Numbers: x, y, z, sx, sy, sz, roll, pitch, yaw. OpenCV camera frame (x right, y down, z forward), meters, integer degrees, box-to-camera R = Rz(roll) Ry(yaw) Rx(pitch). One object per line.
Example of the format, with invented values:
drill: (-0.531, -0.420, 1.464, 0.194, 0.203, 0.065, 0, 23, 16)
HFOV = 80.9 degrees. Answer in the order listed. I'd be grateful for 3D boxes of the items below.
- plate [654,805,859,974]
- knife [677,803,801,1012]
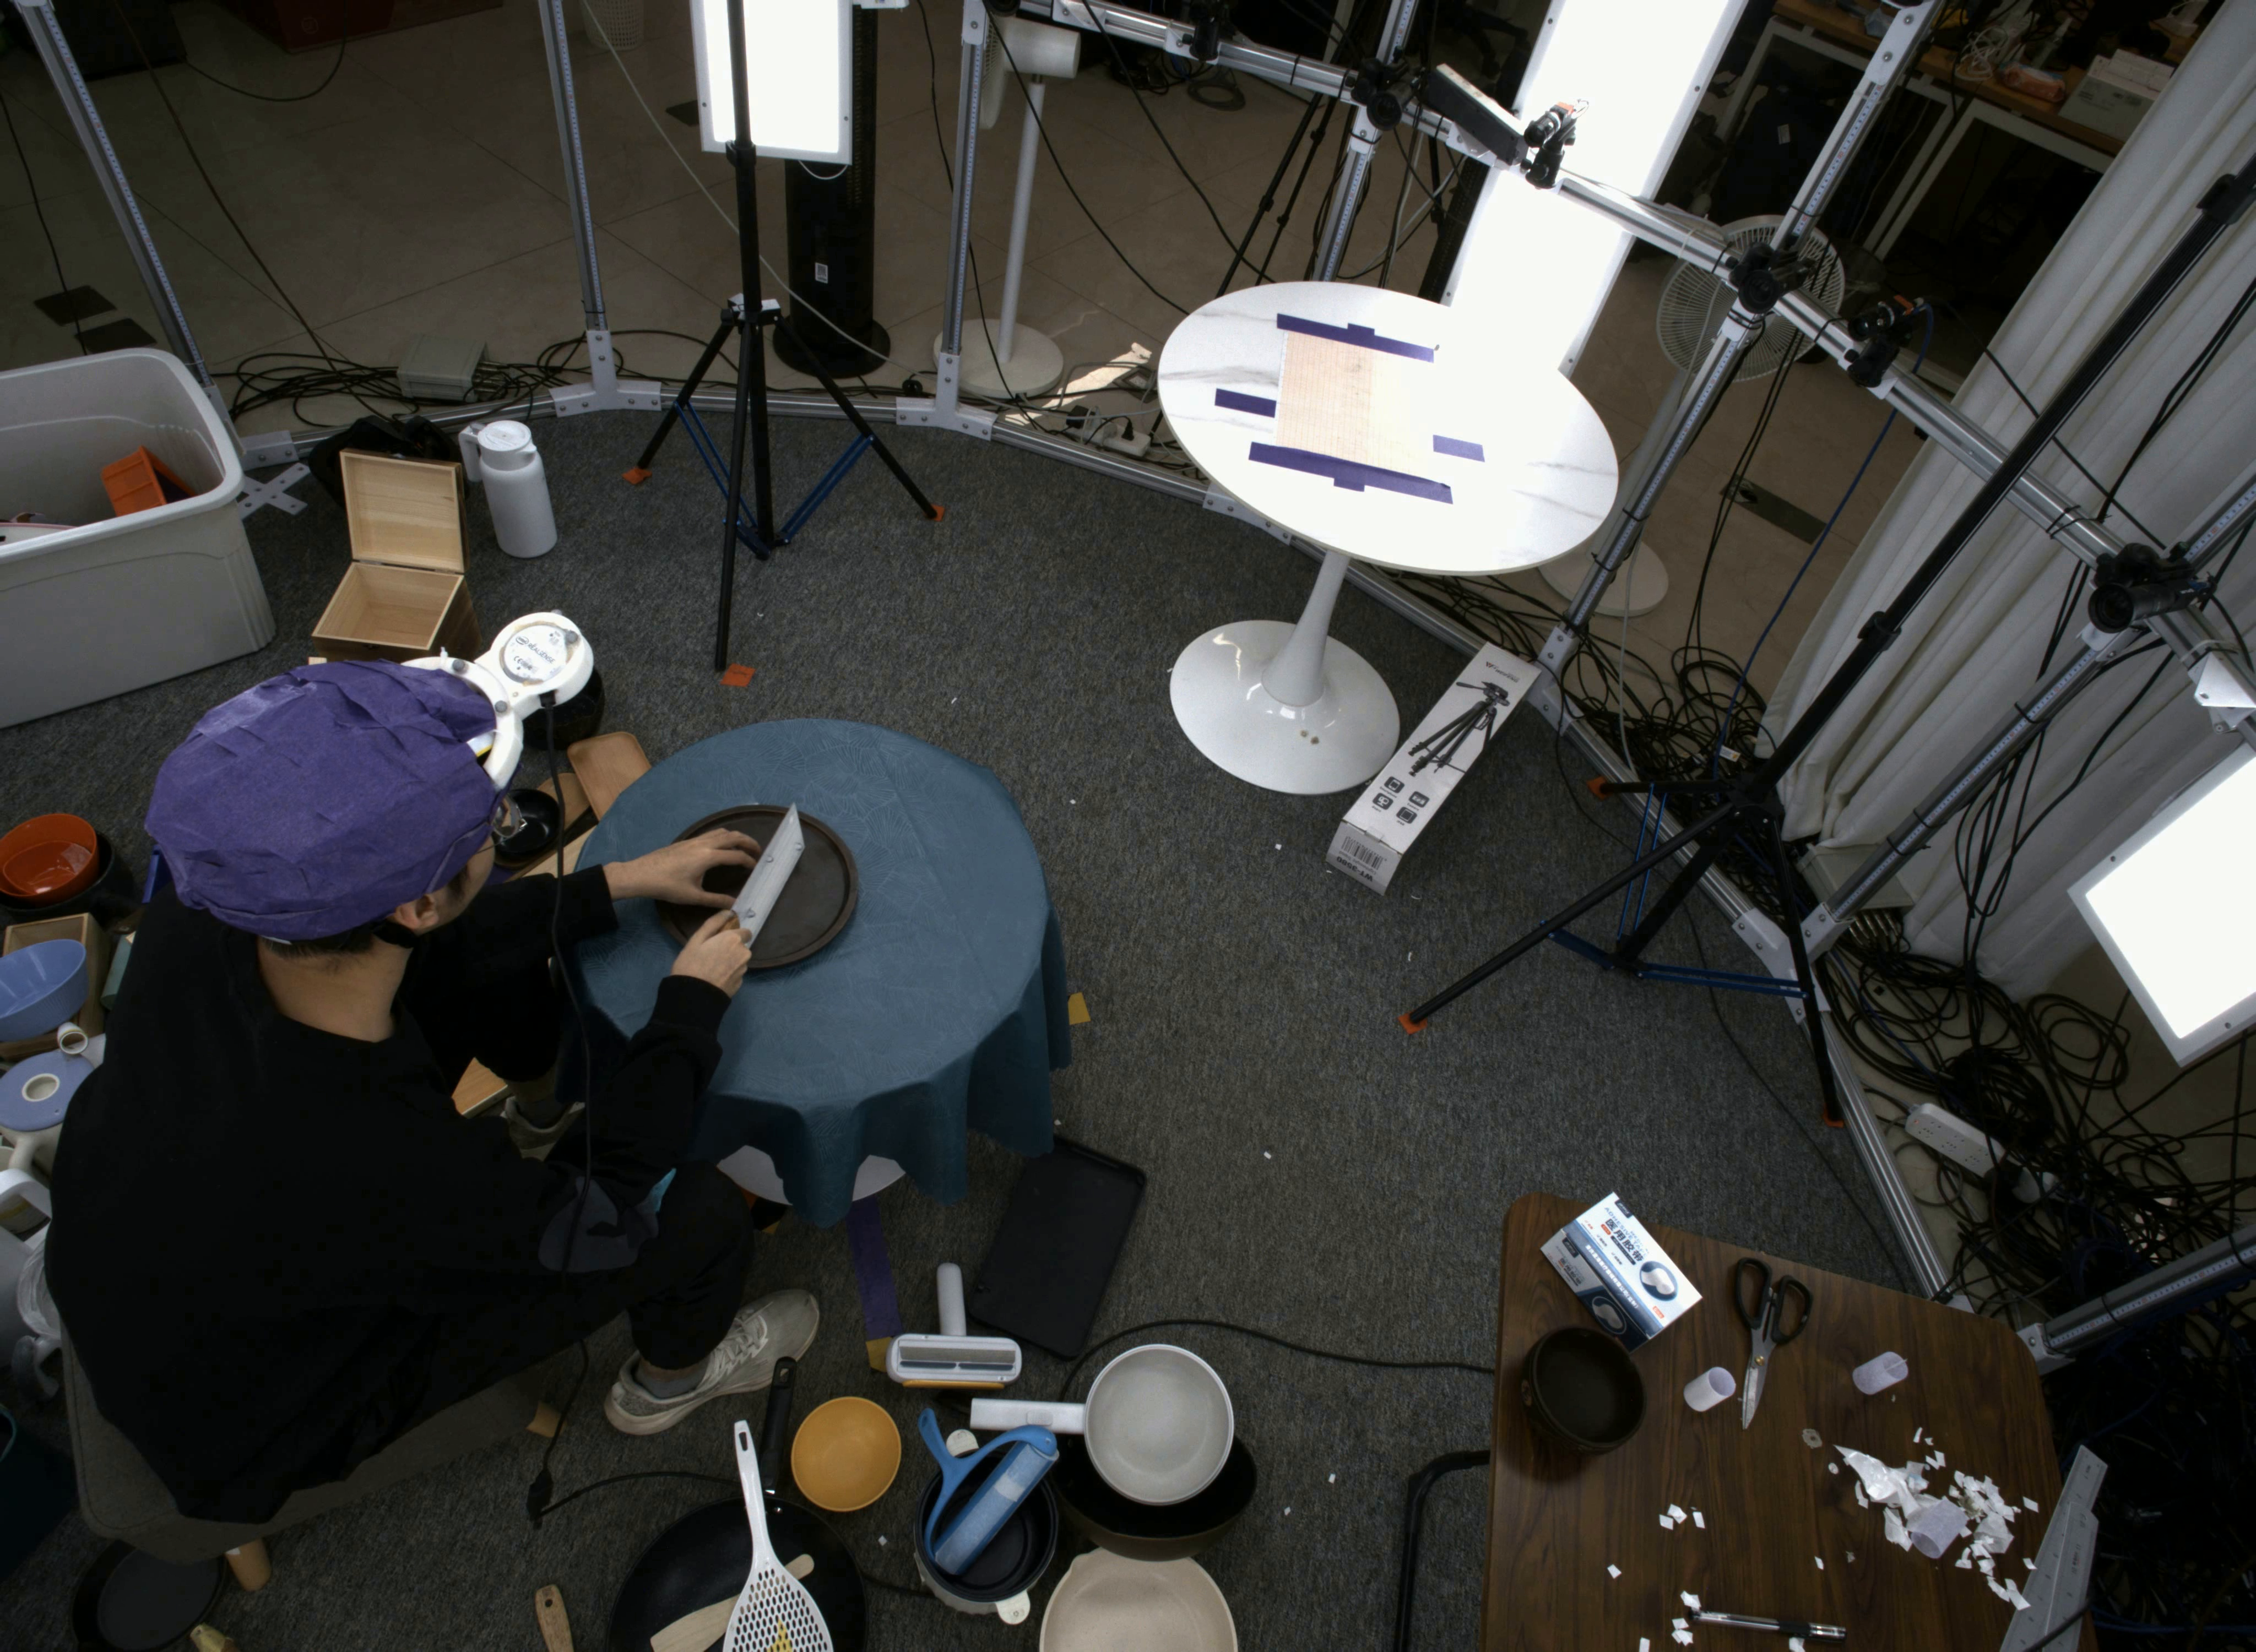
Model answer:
plate: (-0.467, 0.076, 1.628, 0.255, 0.029, 0.250, 10, 52, -11)
knife: (-0.456, 0.105, 1.544, 0.020, 0.095, 0.302, 12, 49, 8)
